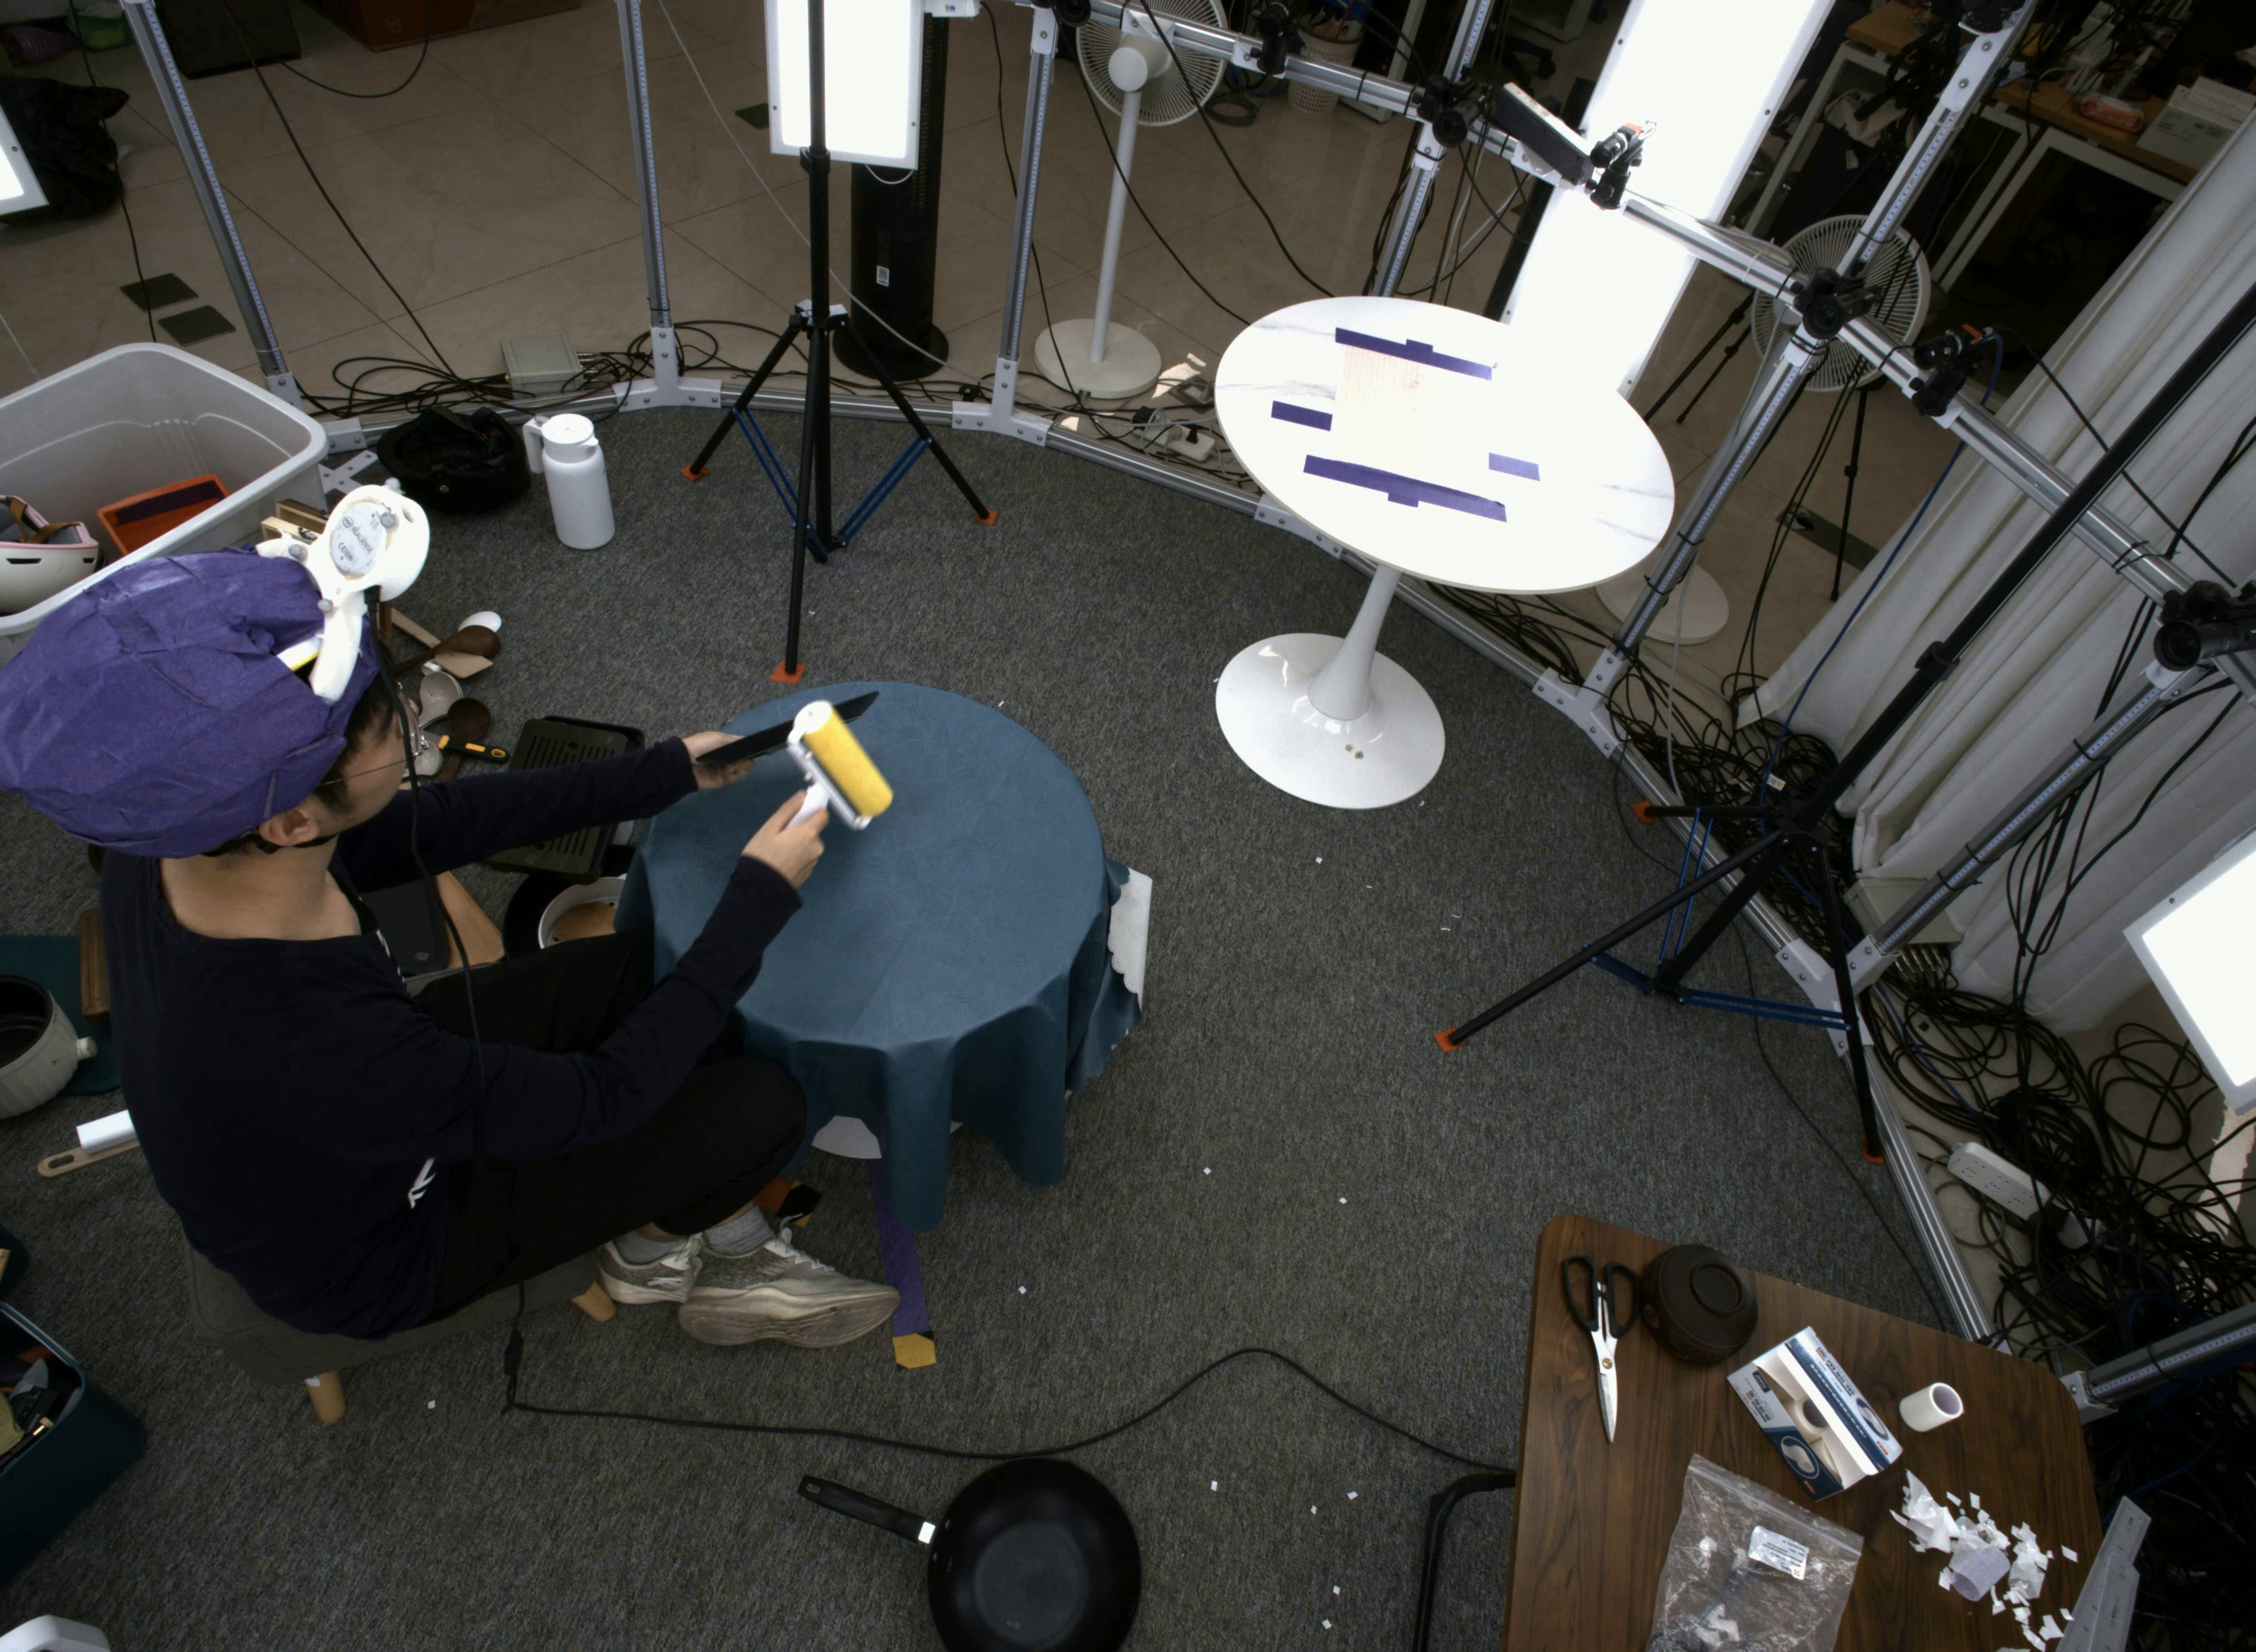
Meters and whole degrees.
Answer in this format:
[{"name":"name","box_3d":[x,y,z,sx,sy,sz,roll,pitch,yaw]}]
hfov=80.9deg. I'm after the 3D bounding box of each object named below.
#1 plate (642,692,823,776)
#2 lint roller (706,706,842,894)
[{"name":"plate","box_3d":[-0.490,-0.111,1.614,0.245,0.239,0.024,-27,97,-29]},{"name":"lint roller","box_3d":[-0.414,-0.009,1.459,0.050,0.181,0.191,6,60,26]}]
